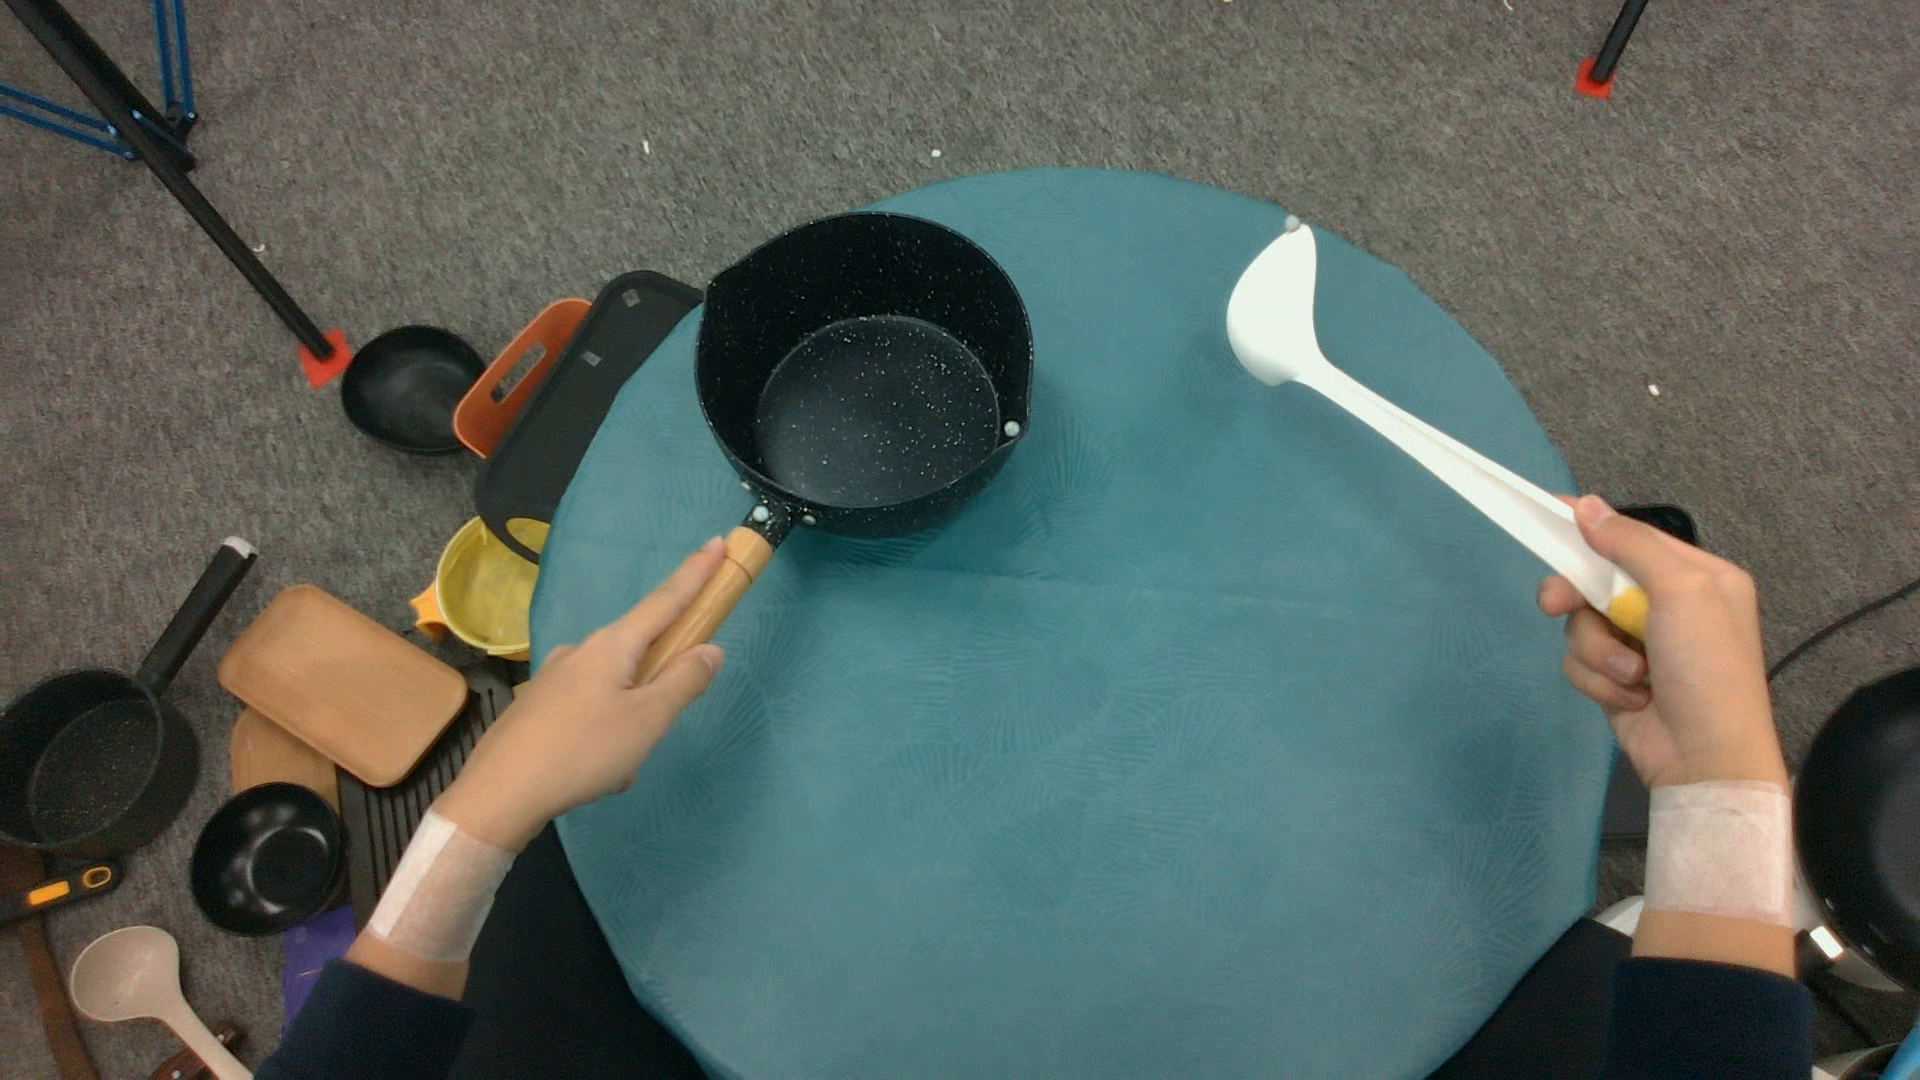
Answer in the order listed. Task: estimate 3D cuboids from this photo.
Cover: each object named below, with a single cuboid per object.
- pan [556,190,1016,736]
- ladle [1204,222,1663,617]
[{"bbox_3d":[-0.098,-0.033,0.740,0.207,0.108,0.344,25,69,10],"label":"pan"},{"bbox_3d":[0.229,-0.065,0.698,0.070,0.089,0.293,-18,46,-33],"label":"ladle"}]
